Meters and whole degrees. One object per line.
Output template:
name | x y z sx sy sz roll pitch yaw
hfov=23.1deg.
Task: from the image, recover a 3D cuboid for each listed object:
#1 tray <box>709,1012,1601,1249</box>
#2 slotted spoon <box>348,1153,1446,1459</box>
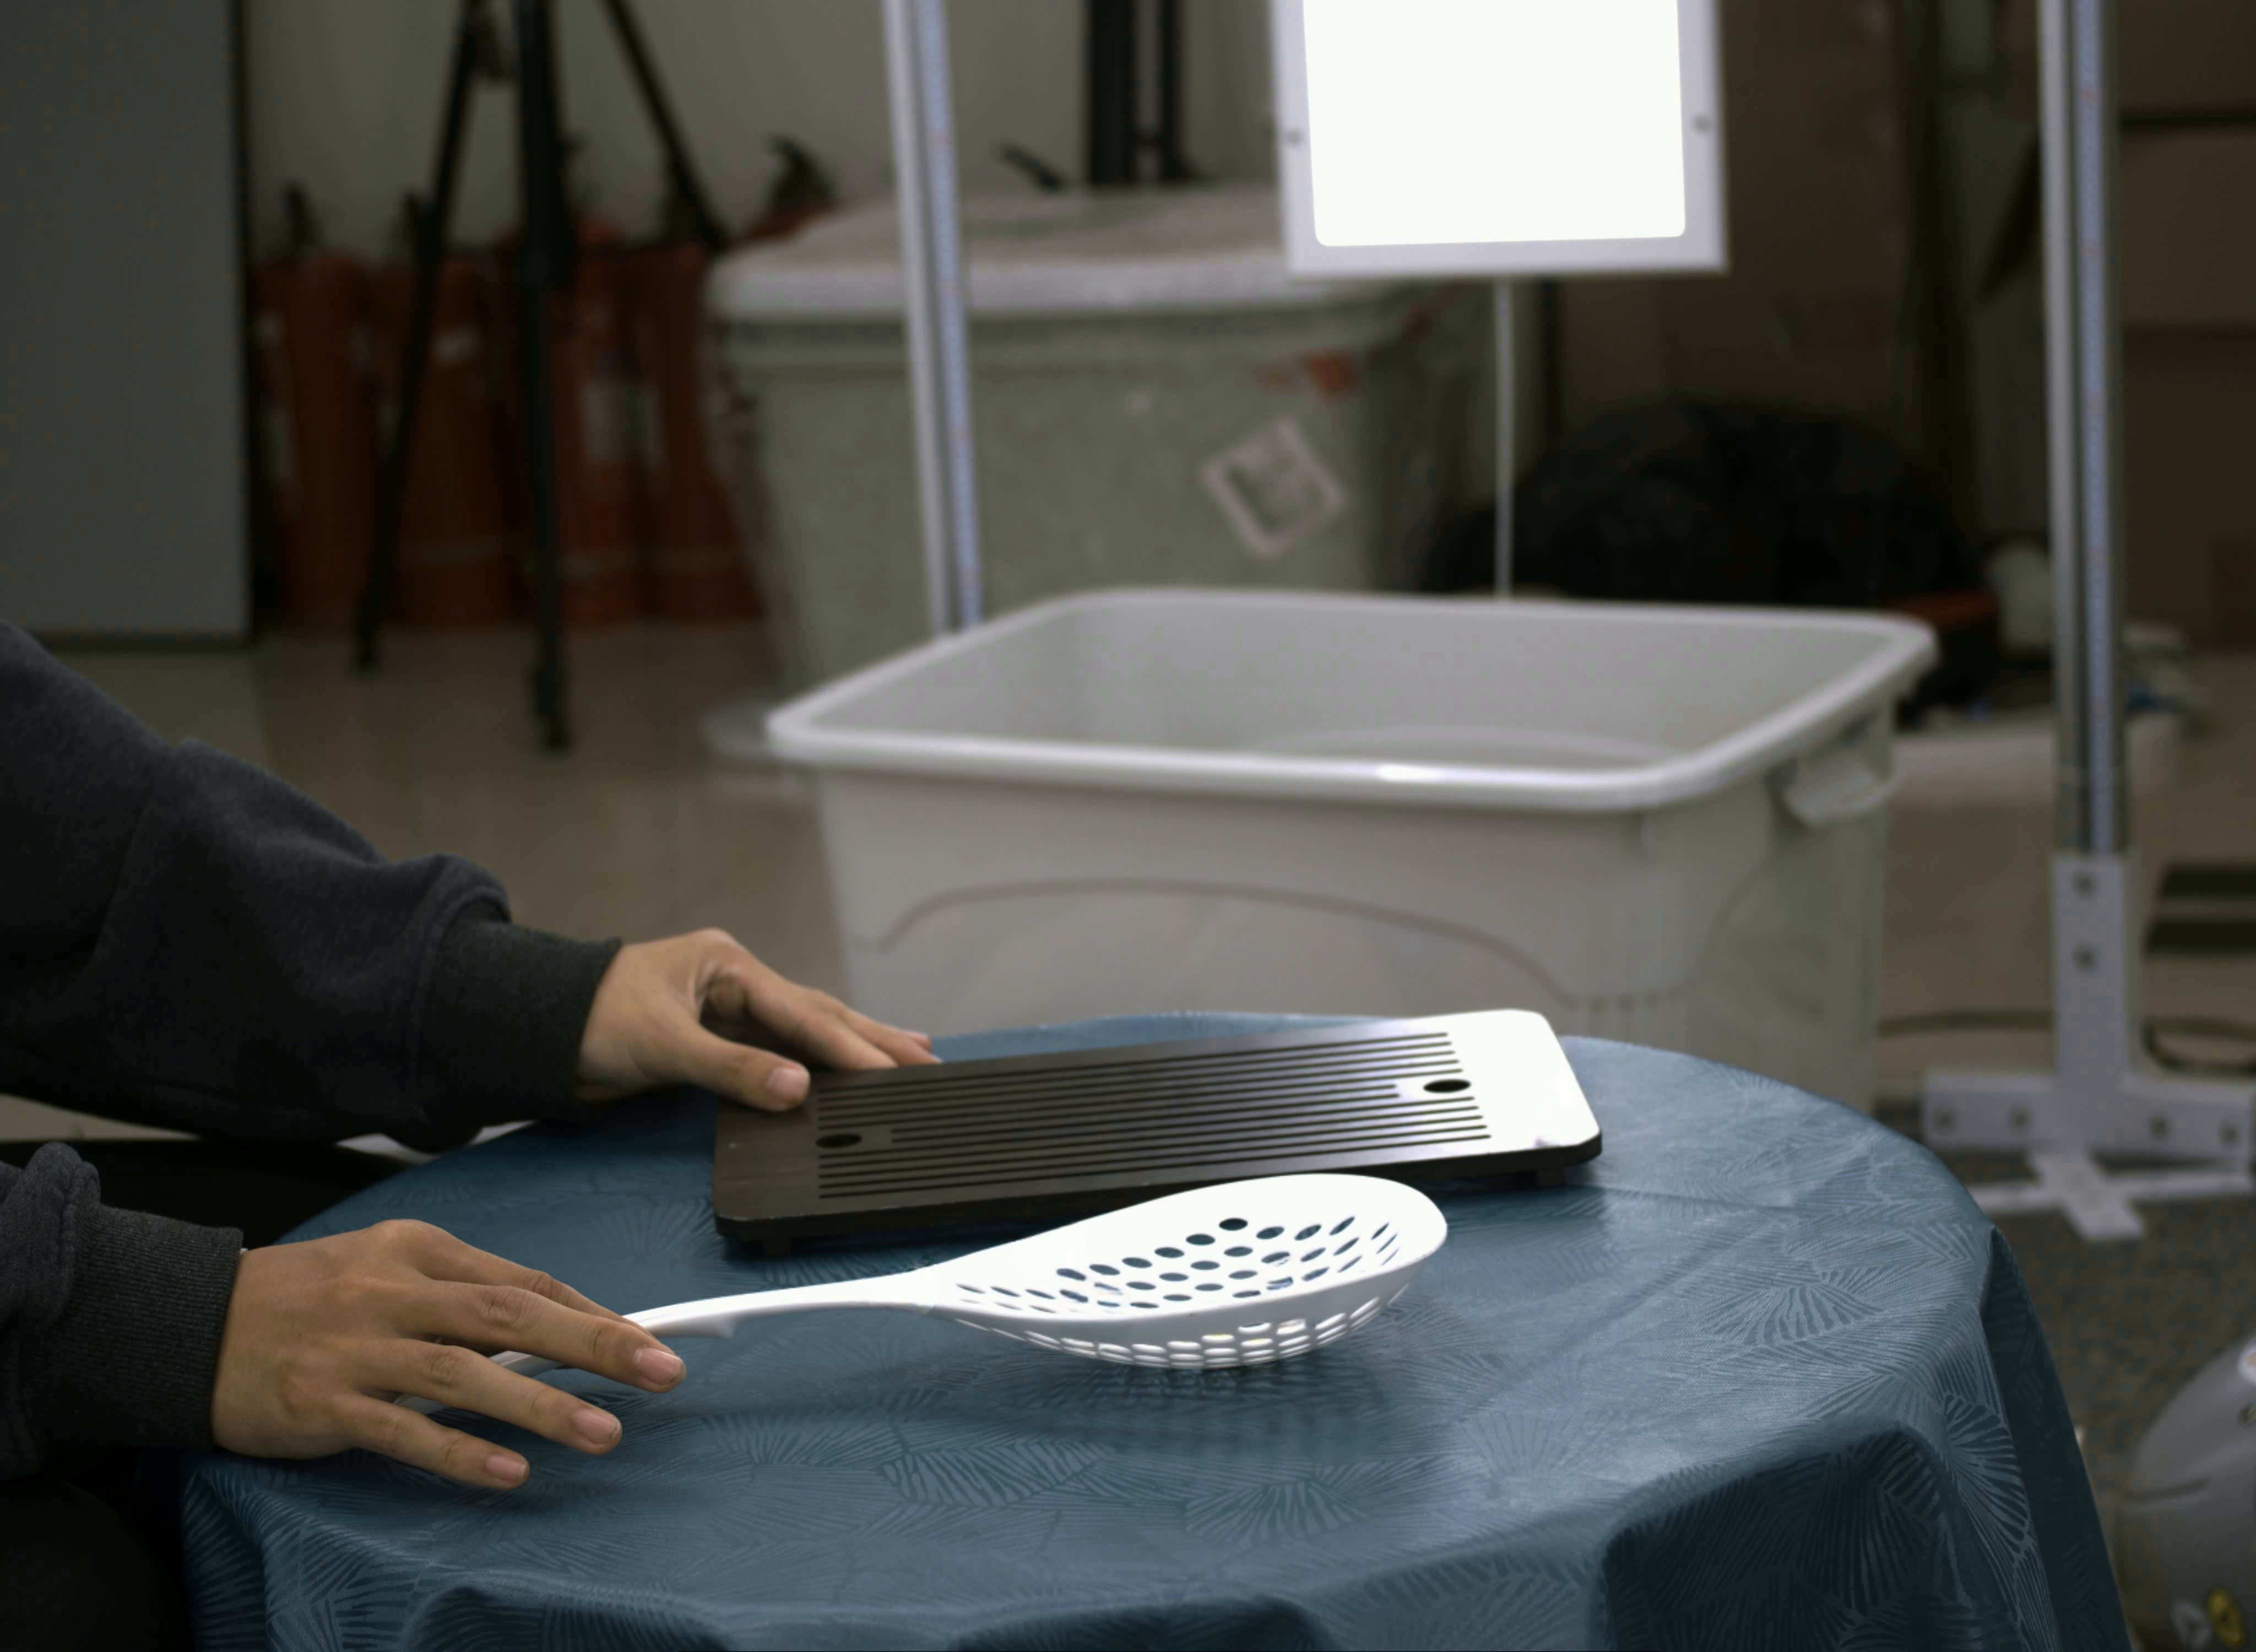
tray | 0.006 0.107 1.937 0.305 0.019 0.170 -5 14 0
slotted spoon | -0.072 0.155 1.720 0.347 0.050 0.137 -5 13 0
